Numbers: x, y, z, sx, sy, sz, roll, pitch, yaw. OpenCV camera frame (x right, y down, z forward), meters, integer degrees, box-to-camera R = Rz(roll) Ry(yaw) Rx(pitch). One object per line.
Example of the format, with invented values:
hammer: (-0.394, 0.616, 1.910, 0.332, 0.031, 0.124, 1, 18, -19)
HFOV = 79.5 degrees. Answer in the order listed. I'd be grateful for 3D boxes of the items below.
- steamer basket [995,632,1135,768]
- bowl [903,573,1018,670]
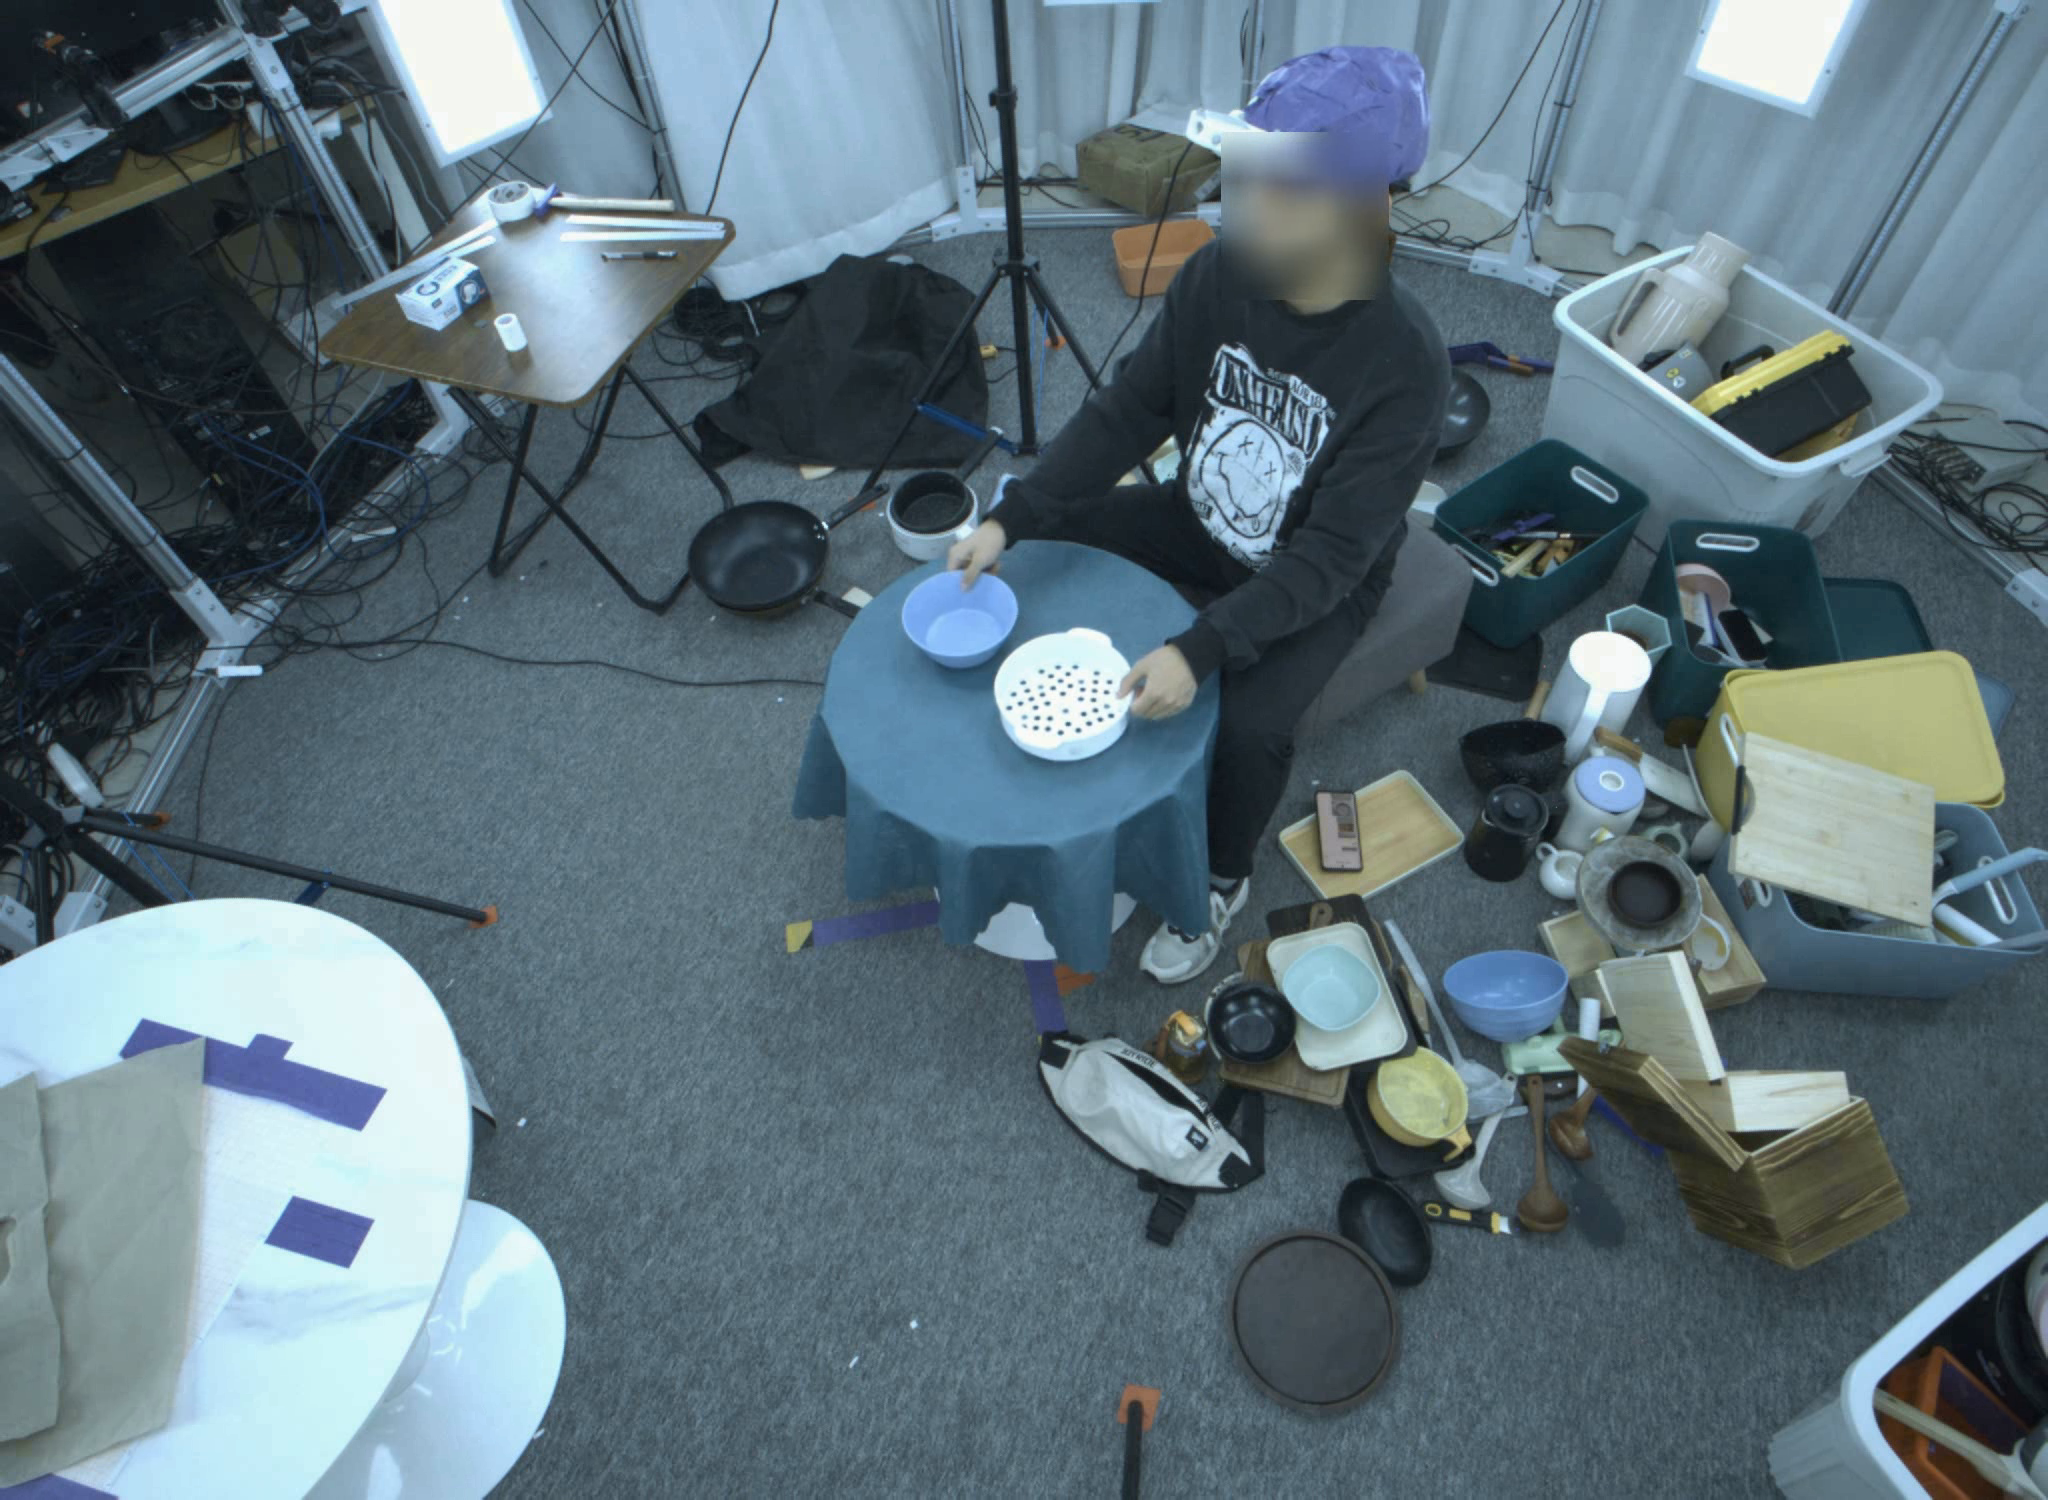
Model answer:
steamer basket: (0.061, -0.068, 1.802, 0.200, 0.070, 0.230, 17, 60, 14)
bowl: (-0.096, -0.189, 1.890, 0.176, 0.071, 0.174, 0, 56, 1)
